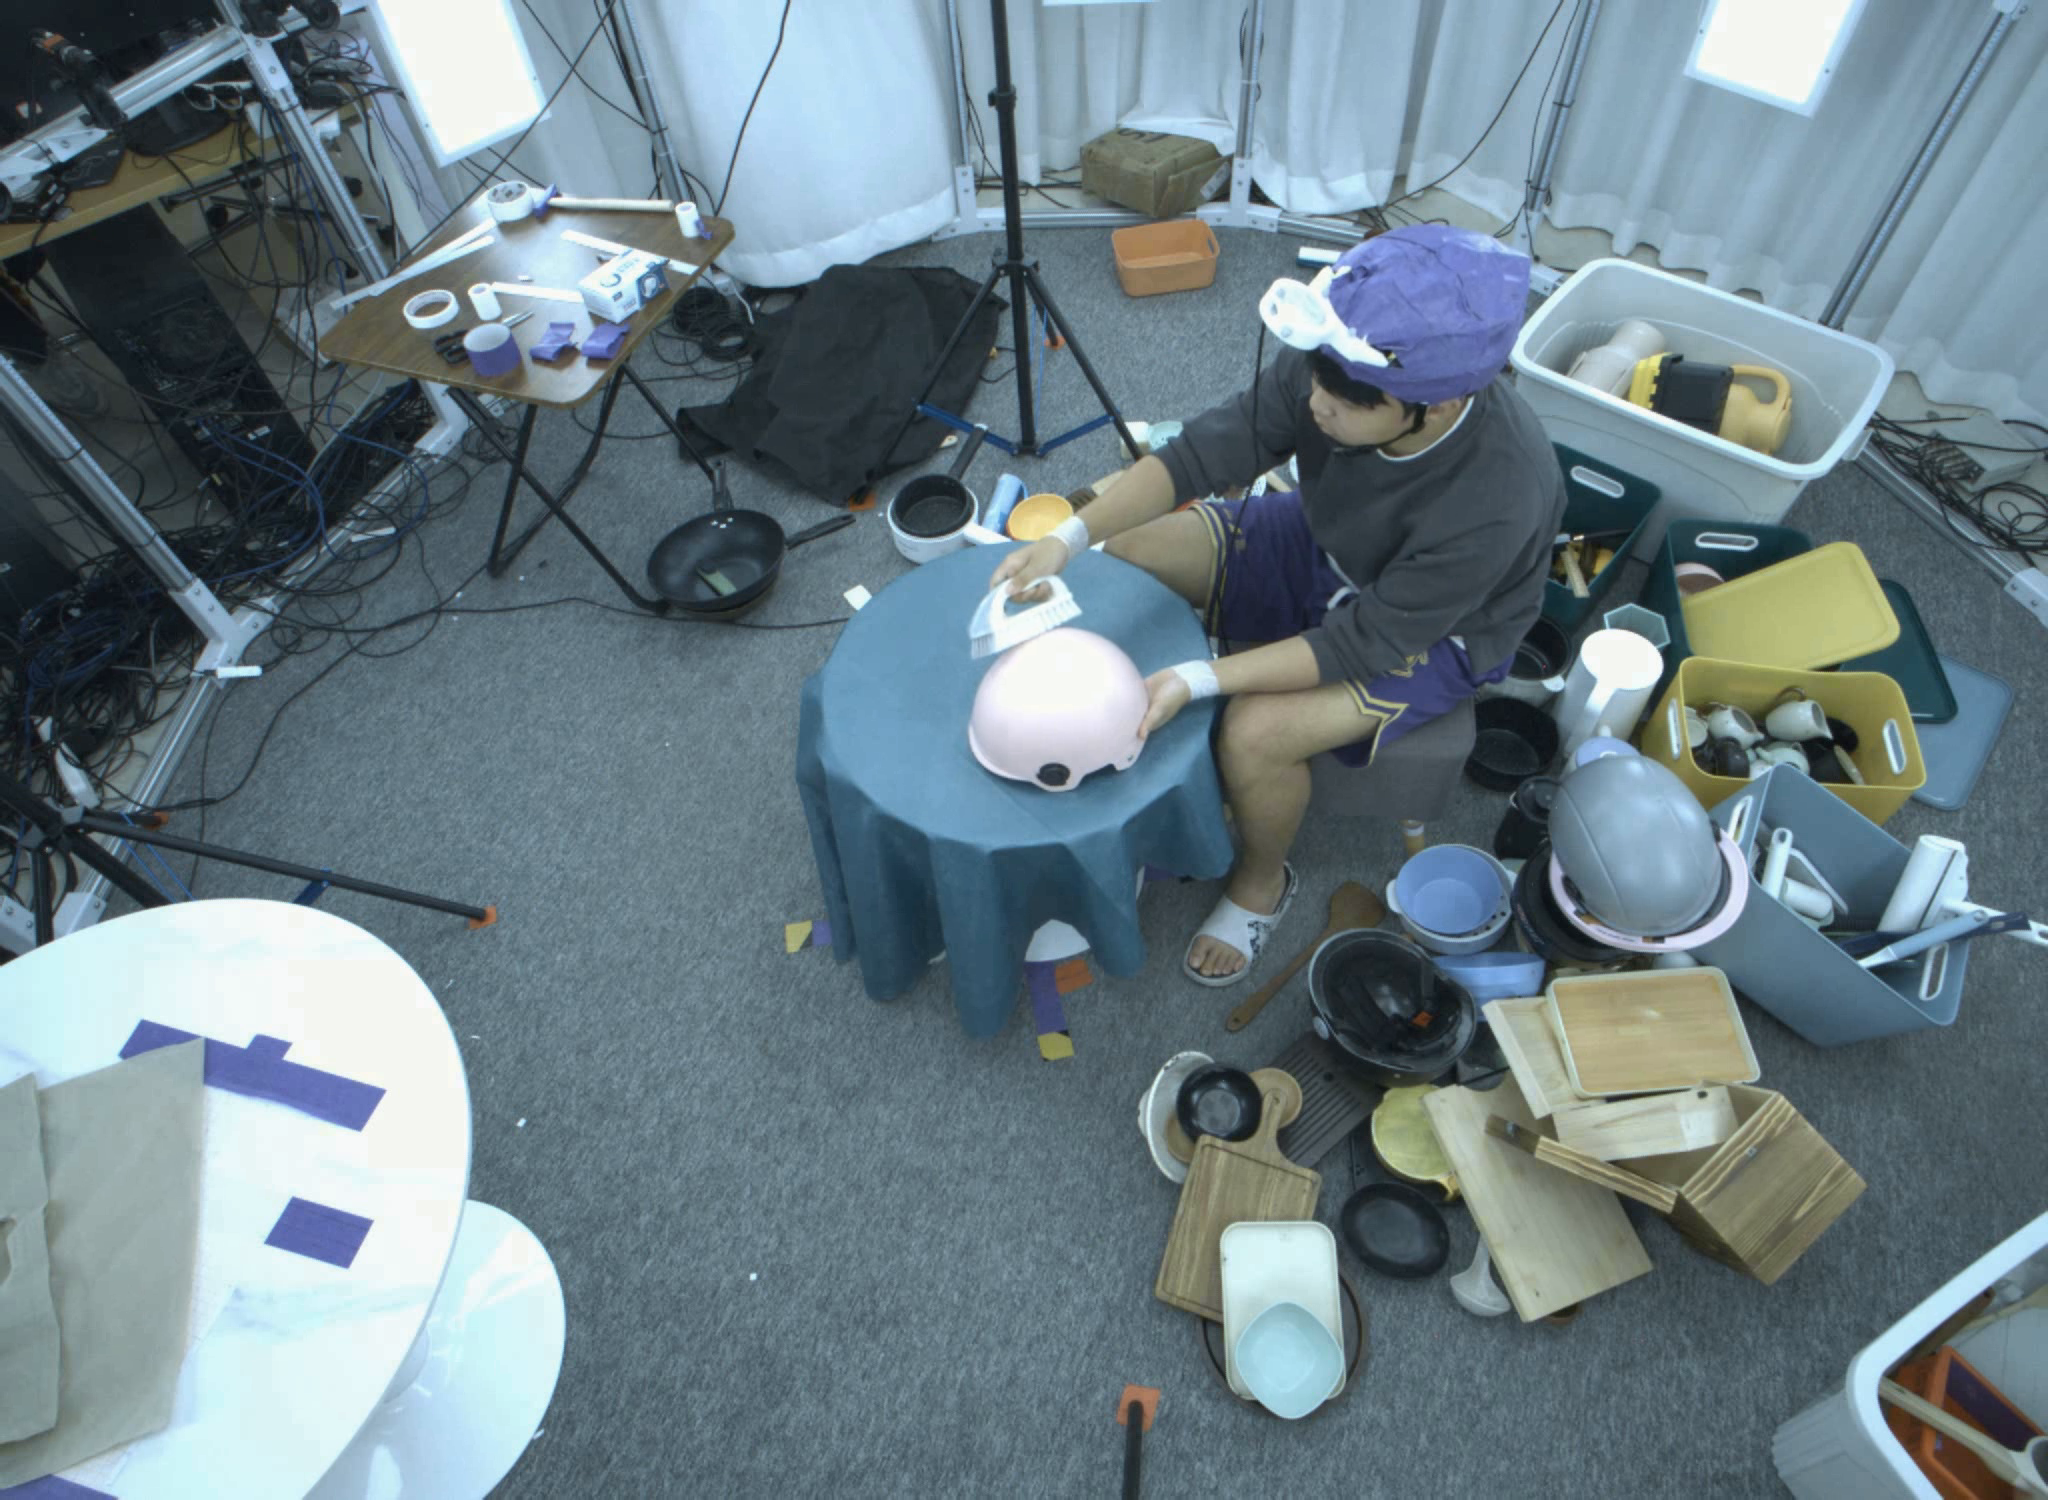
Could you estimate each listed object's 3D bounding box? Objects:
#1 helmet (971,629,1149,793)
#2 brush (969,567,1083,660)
[{"bbox_3d":[0.043,-0.075,1.749,0.266,0.161,0.230,-13,55,-1],"label":"helmet"},{"bbox_3d":[-0.010,-0.198,1.731,0.177,0.060,0.095,-29,100,-22],"label":"brush"}]
